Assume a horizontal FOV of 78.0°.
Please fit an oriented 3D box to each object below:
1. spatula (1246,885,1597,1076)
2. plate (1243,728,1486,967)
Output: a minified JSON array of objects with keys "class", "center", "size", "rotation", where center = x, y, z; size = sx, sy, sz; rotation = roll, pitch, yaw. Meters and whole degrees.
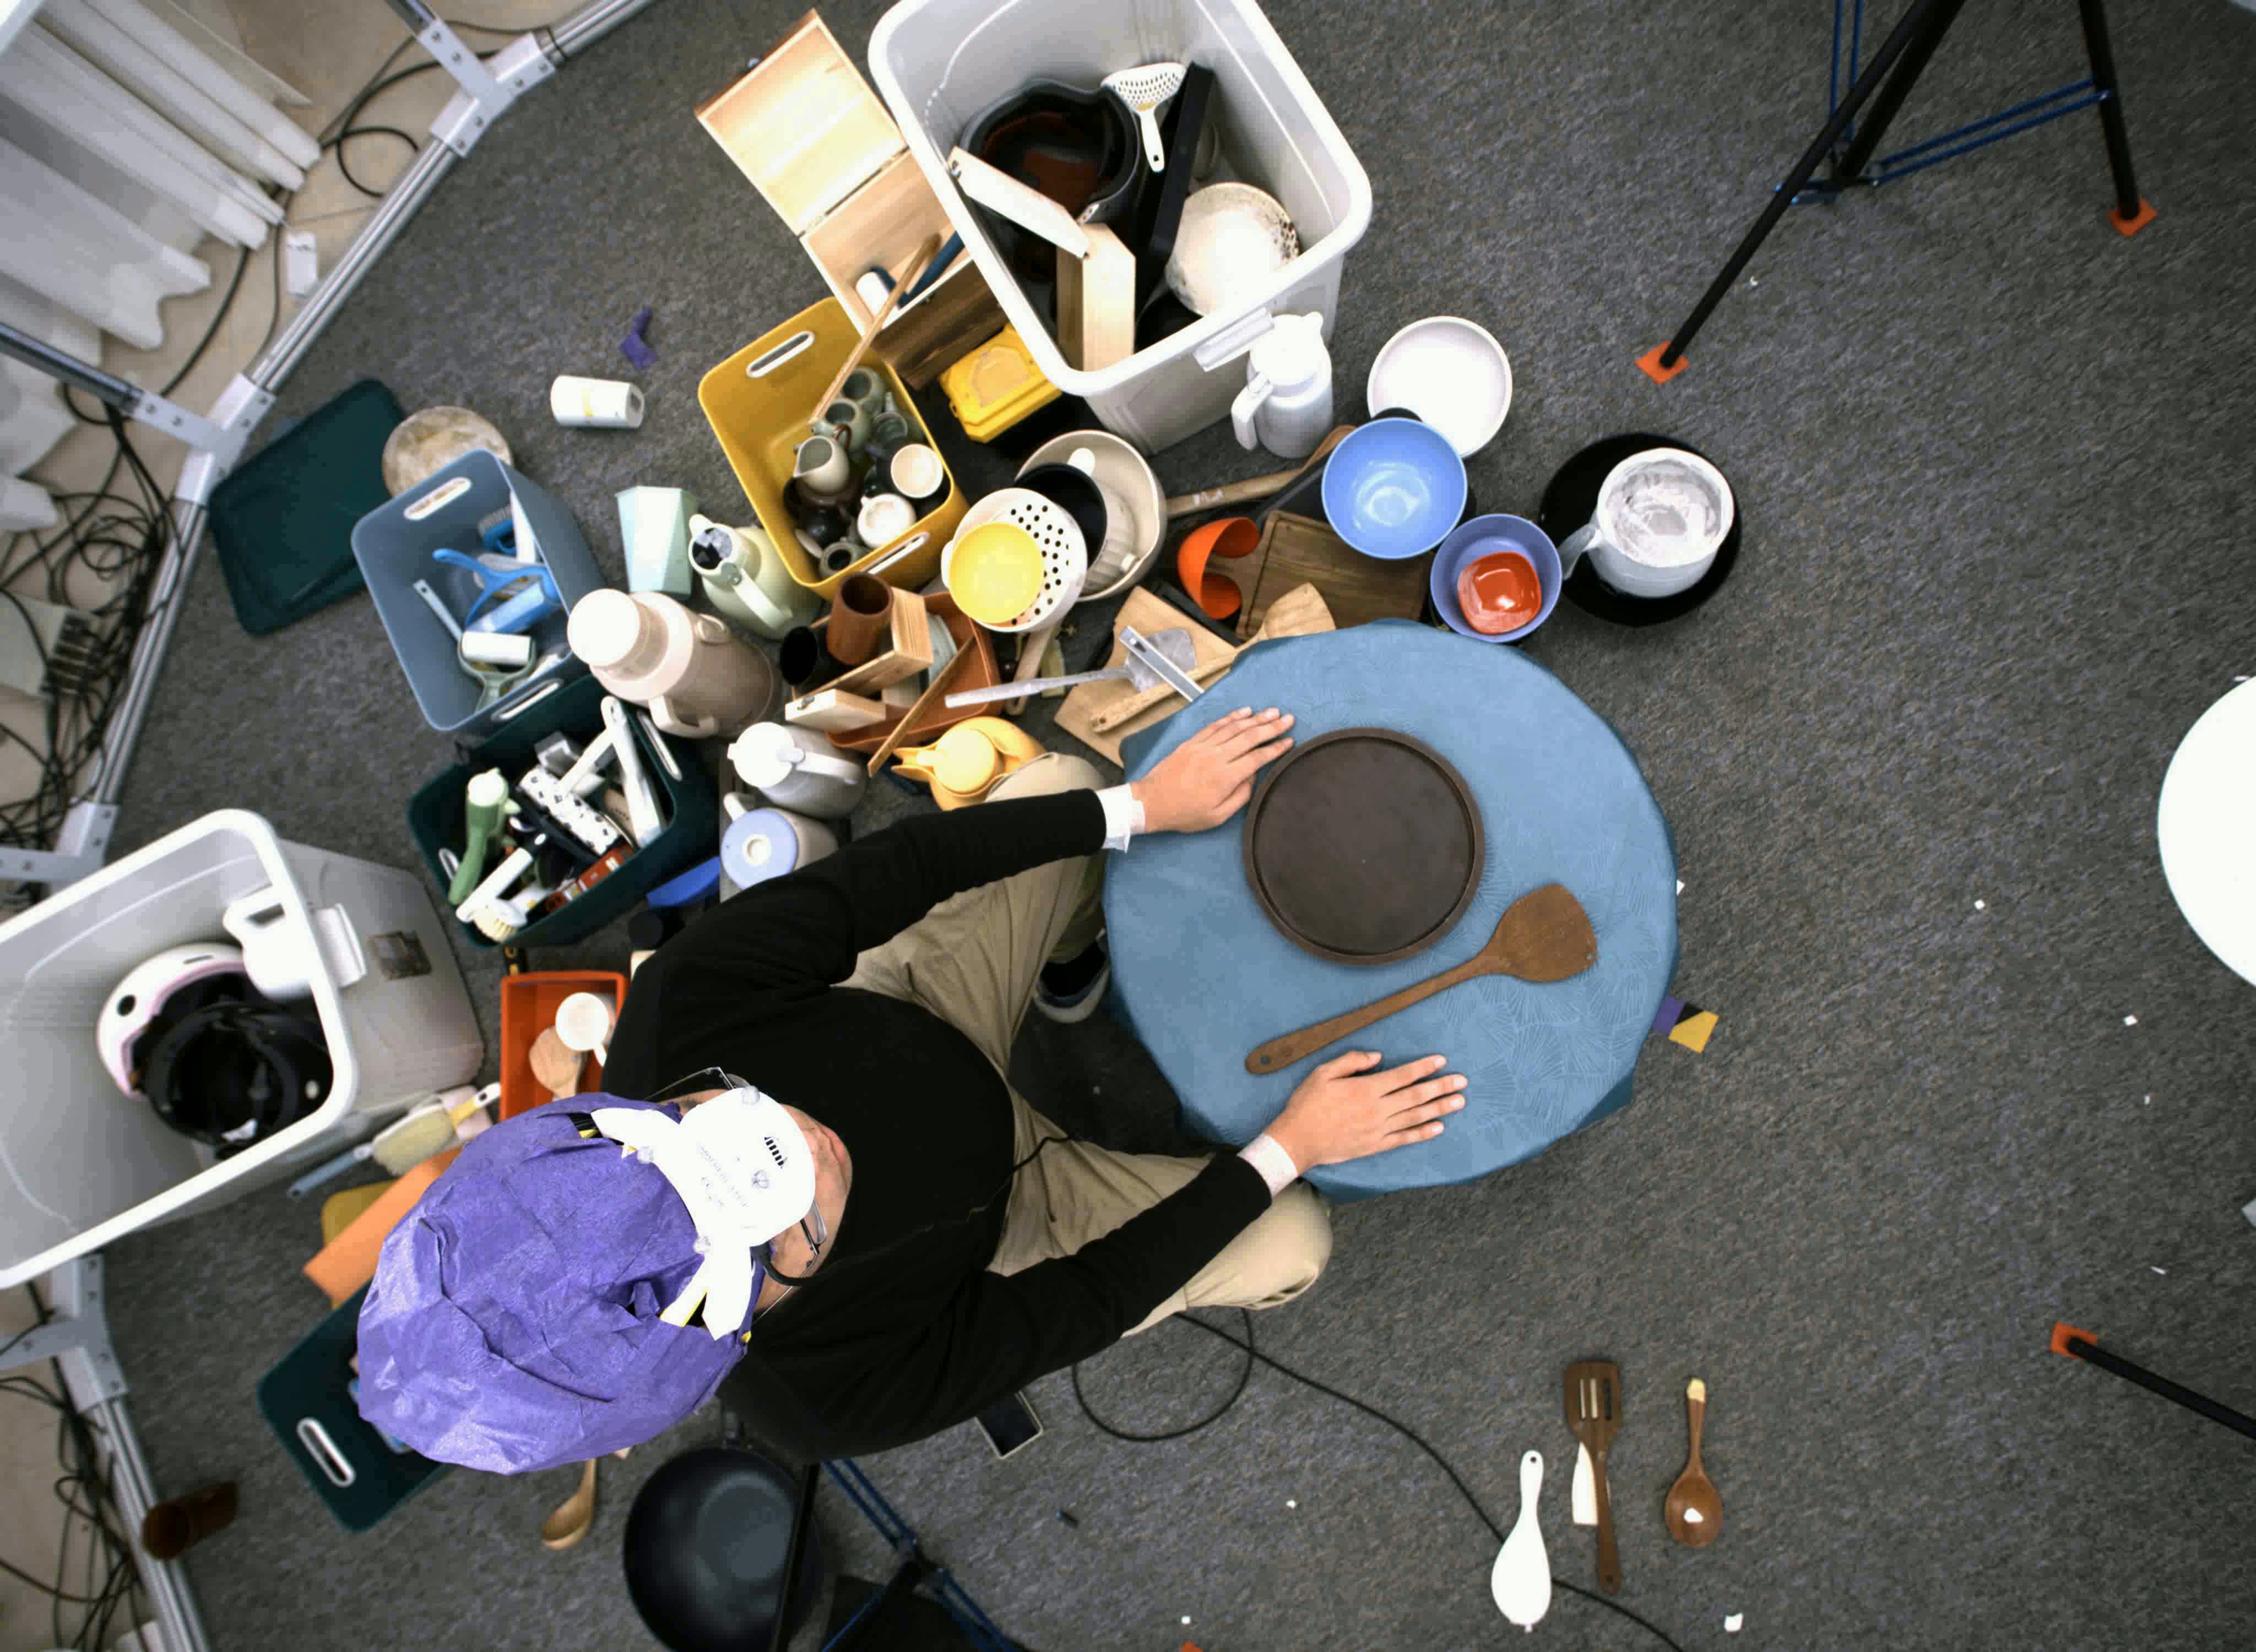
[{"class":"spatula","center":[0.299,0.175,1.442],"size":[0.388,0.016,0.095],"rotation":[-25,82,8]},{"class":"plate","center":[0.248,0.021,1.456],"size":[0.256,0.029,0.253],"rotation":[-1,86,9]}]
